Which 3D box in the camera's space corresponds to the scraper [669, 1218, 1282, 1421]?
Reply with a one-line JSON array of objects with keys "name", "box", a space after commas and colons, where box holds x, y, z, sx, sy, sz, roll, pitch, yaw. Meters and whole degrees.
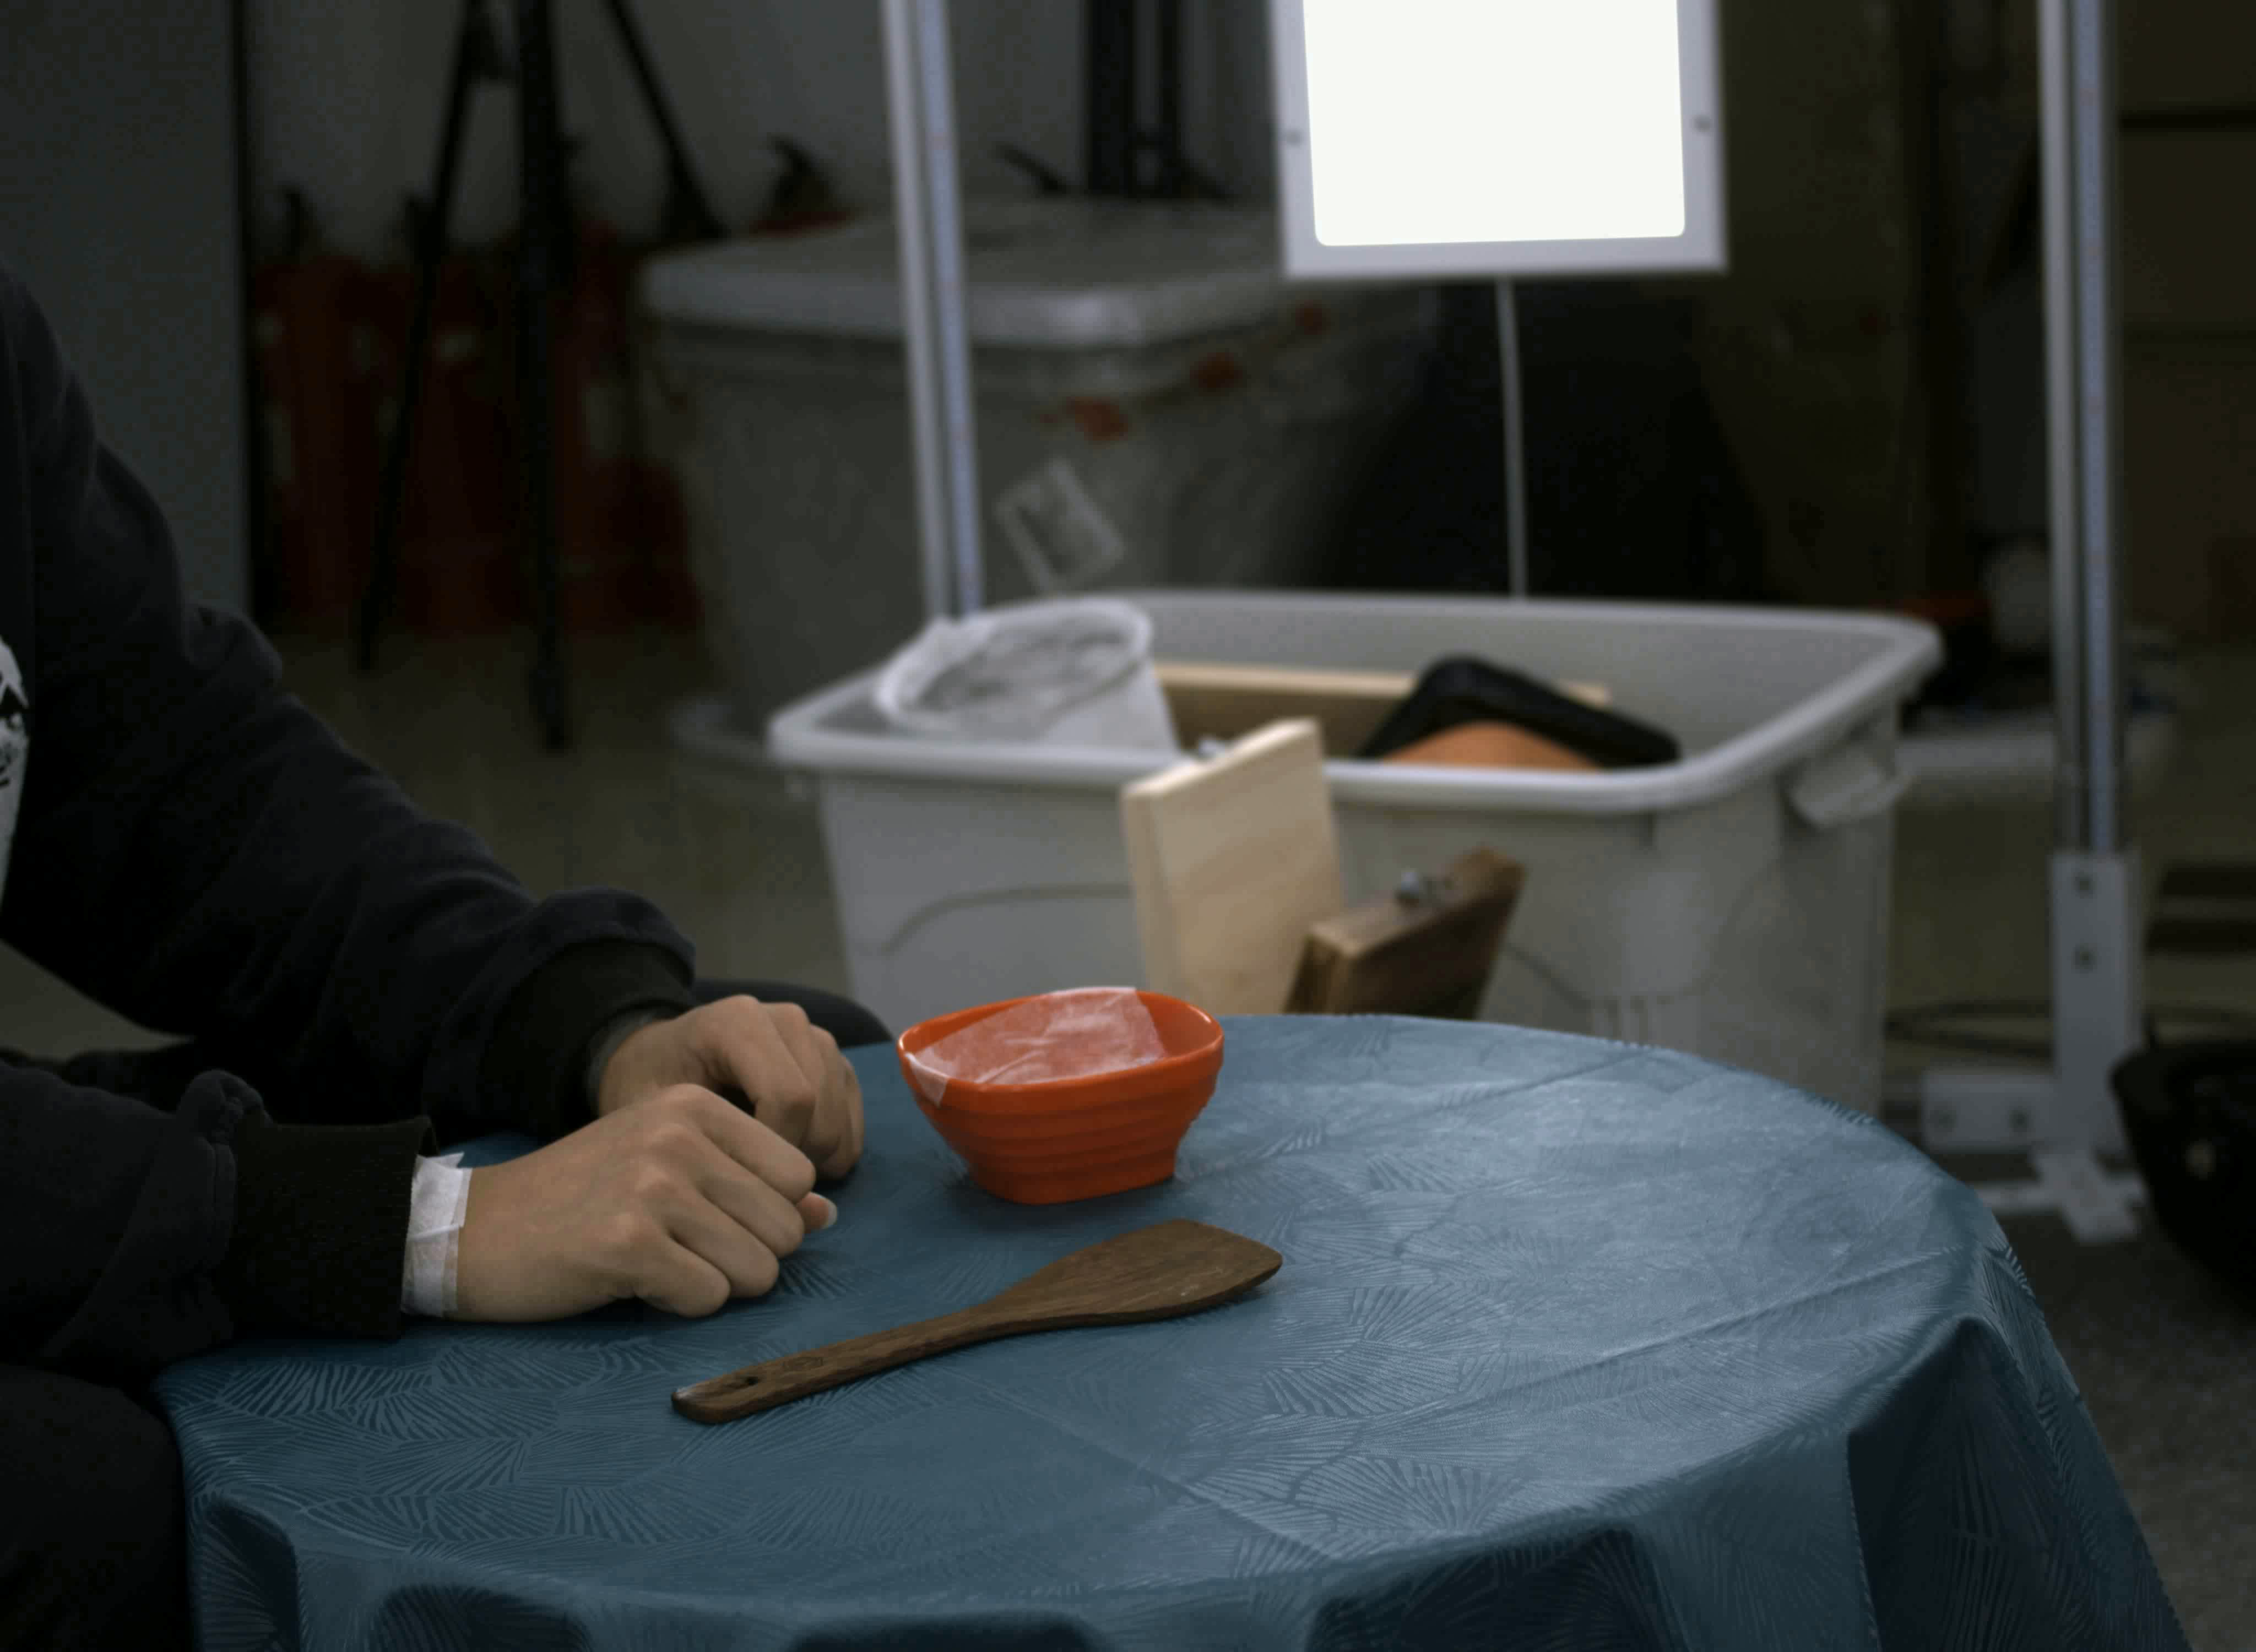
[{"name": "scraper", "box": [-0.051, 0.160, 1.763, 0.206, 0.011, 0.077, -14, 15, -29]}]

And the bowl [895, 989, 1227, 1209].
[{"name": "bowl", "box": [-0.022, 0.098, 1.921, 0.118, 0.051, 0.119, -4, 15, 0]}]
